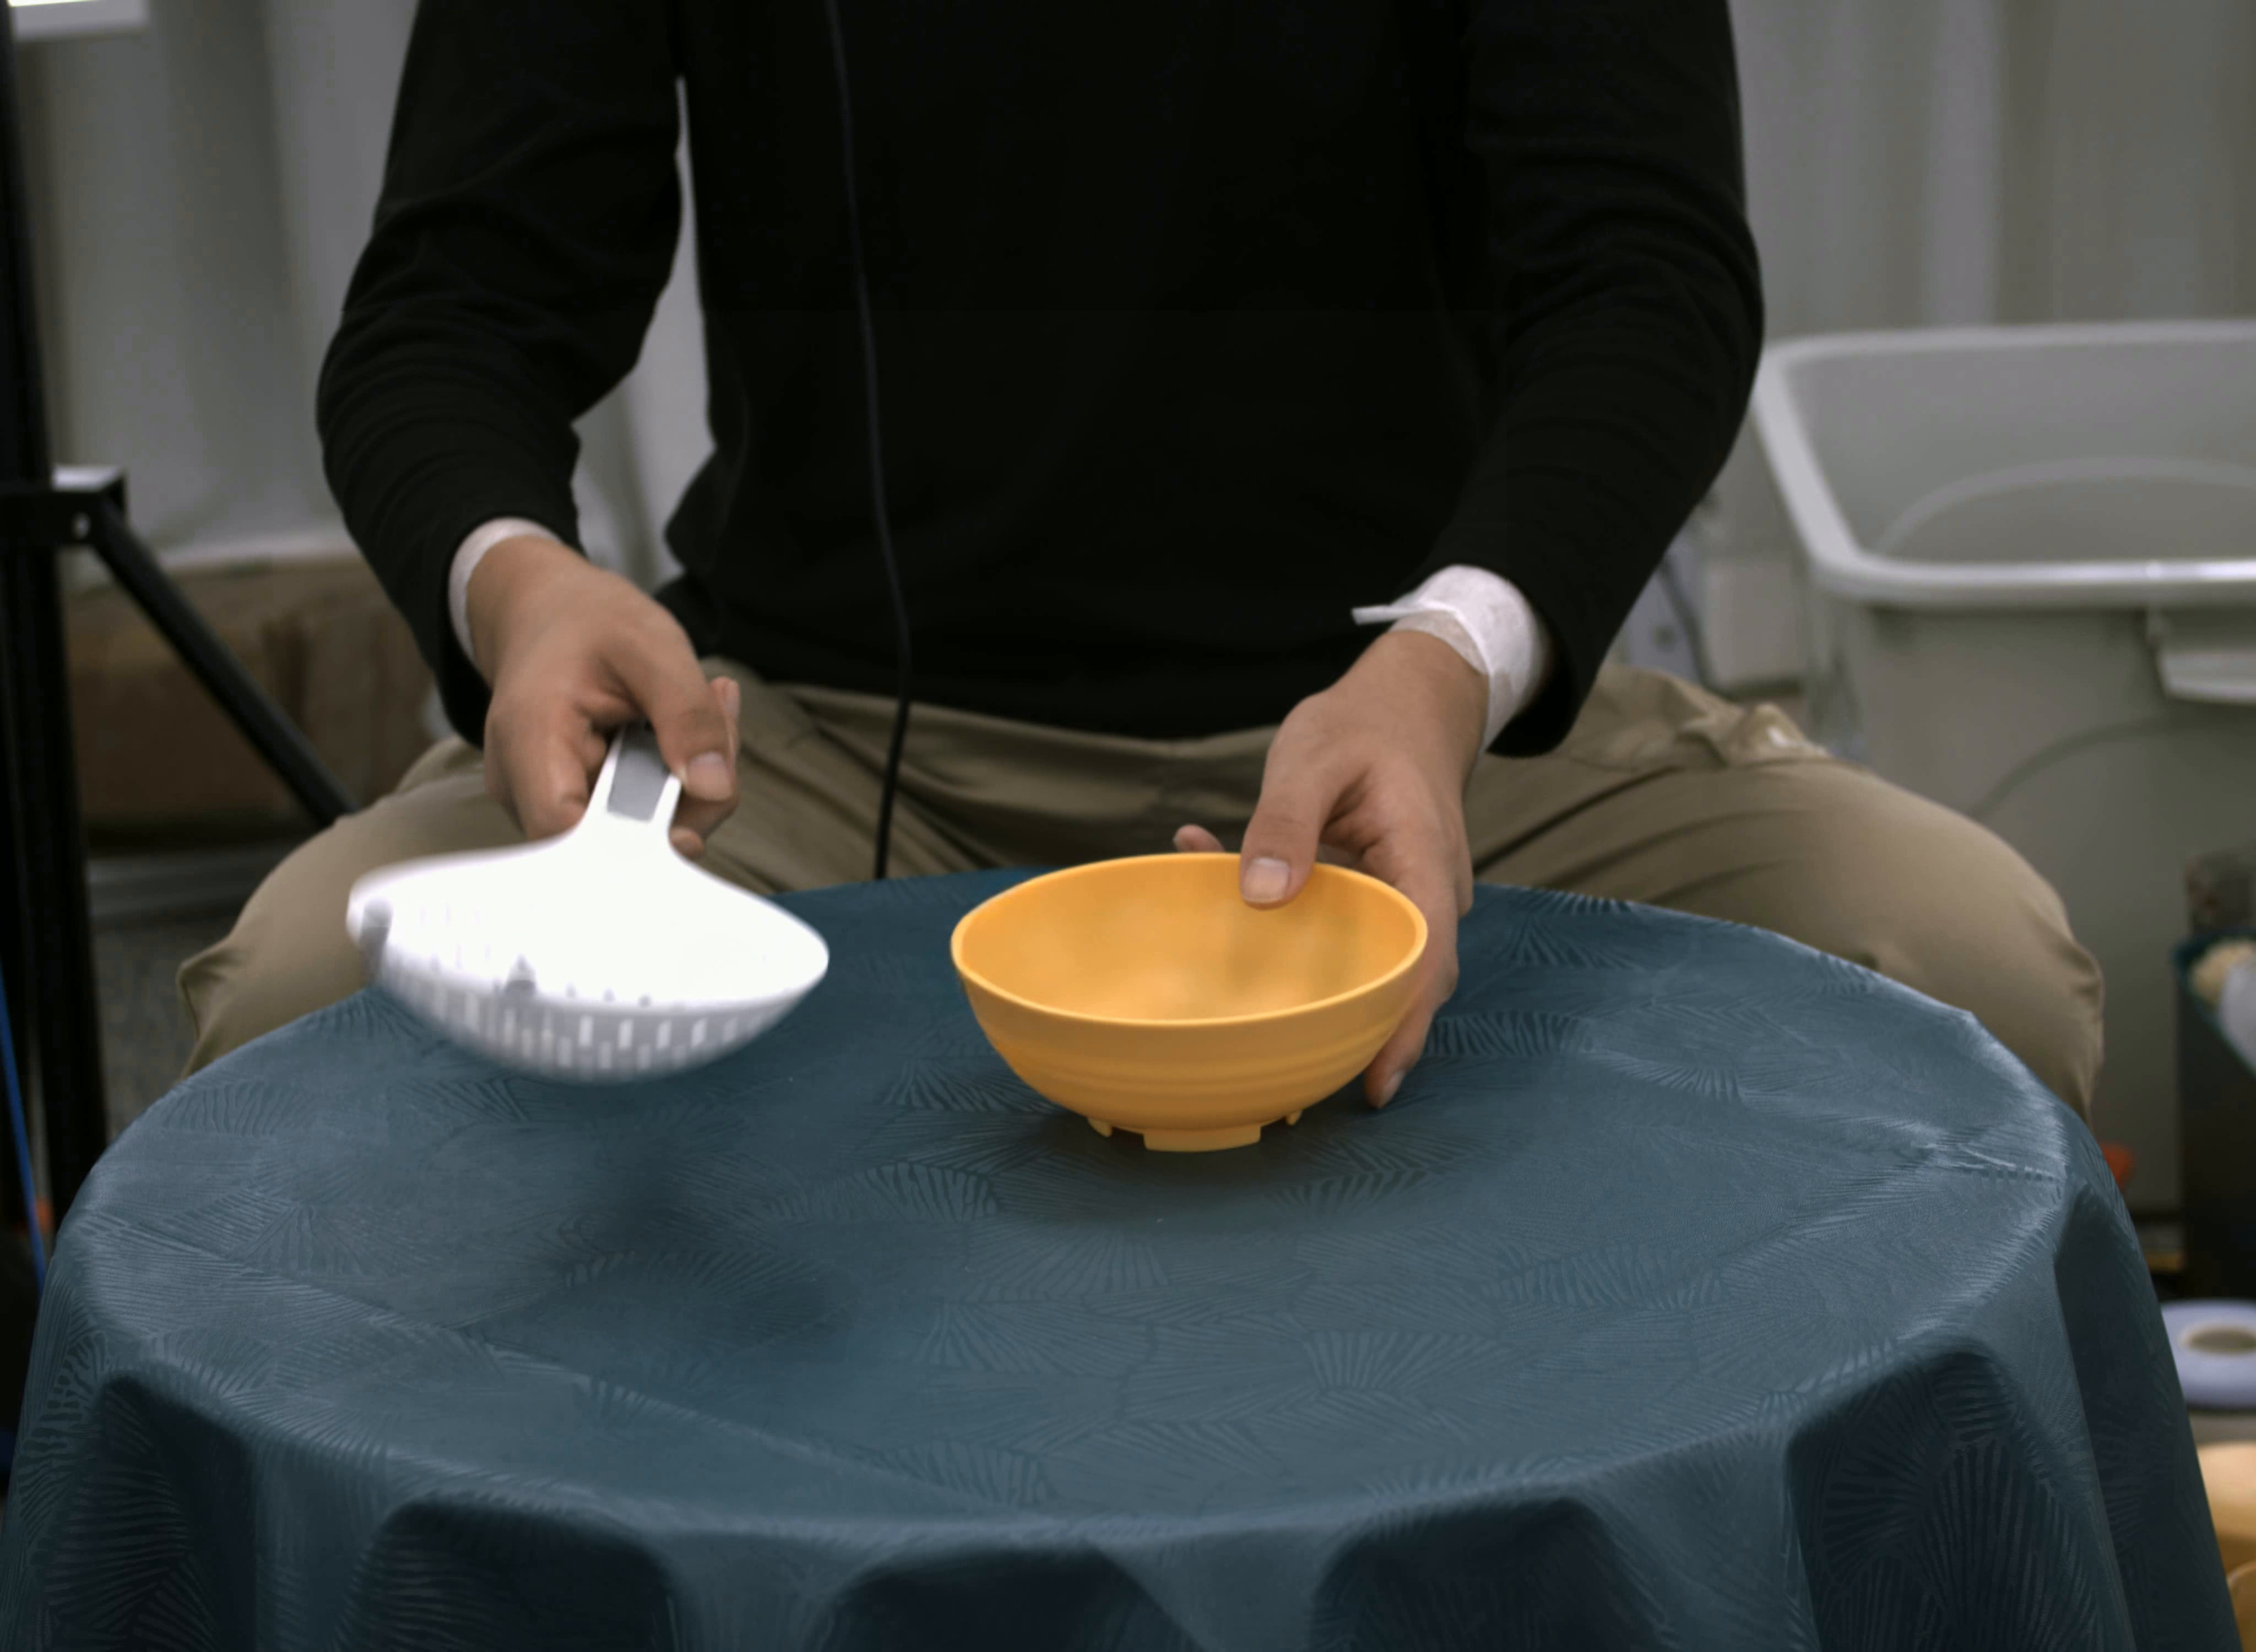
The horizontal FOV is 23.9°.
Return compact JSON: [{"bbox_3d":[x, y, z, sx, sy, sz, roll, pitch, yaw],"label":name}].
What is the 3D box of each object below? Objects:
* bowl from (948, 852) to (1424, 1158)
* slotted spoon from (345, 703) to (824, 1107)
[{"bbox_3d":[0.018,0.061,1.613,0.144,0.060,0.146,-1,20,-1],"label":"bowl"},{"bbox_3d":[-0.155,0.015,1.611,0.135,0.046,0.351,3,21,-1],"label":"slotted spoon"}]
